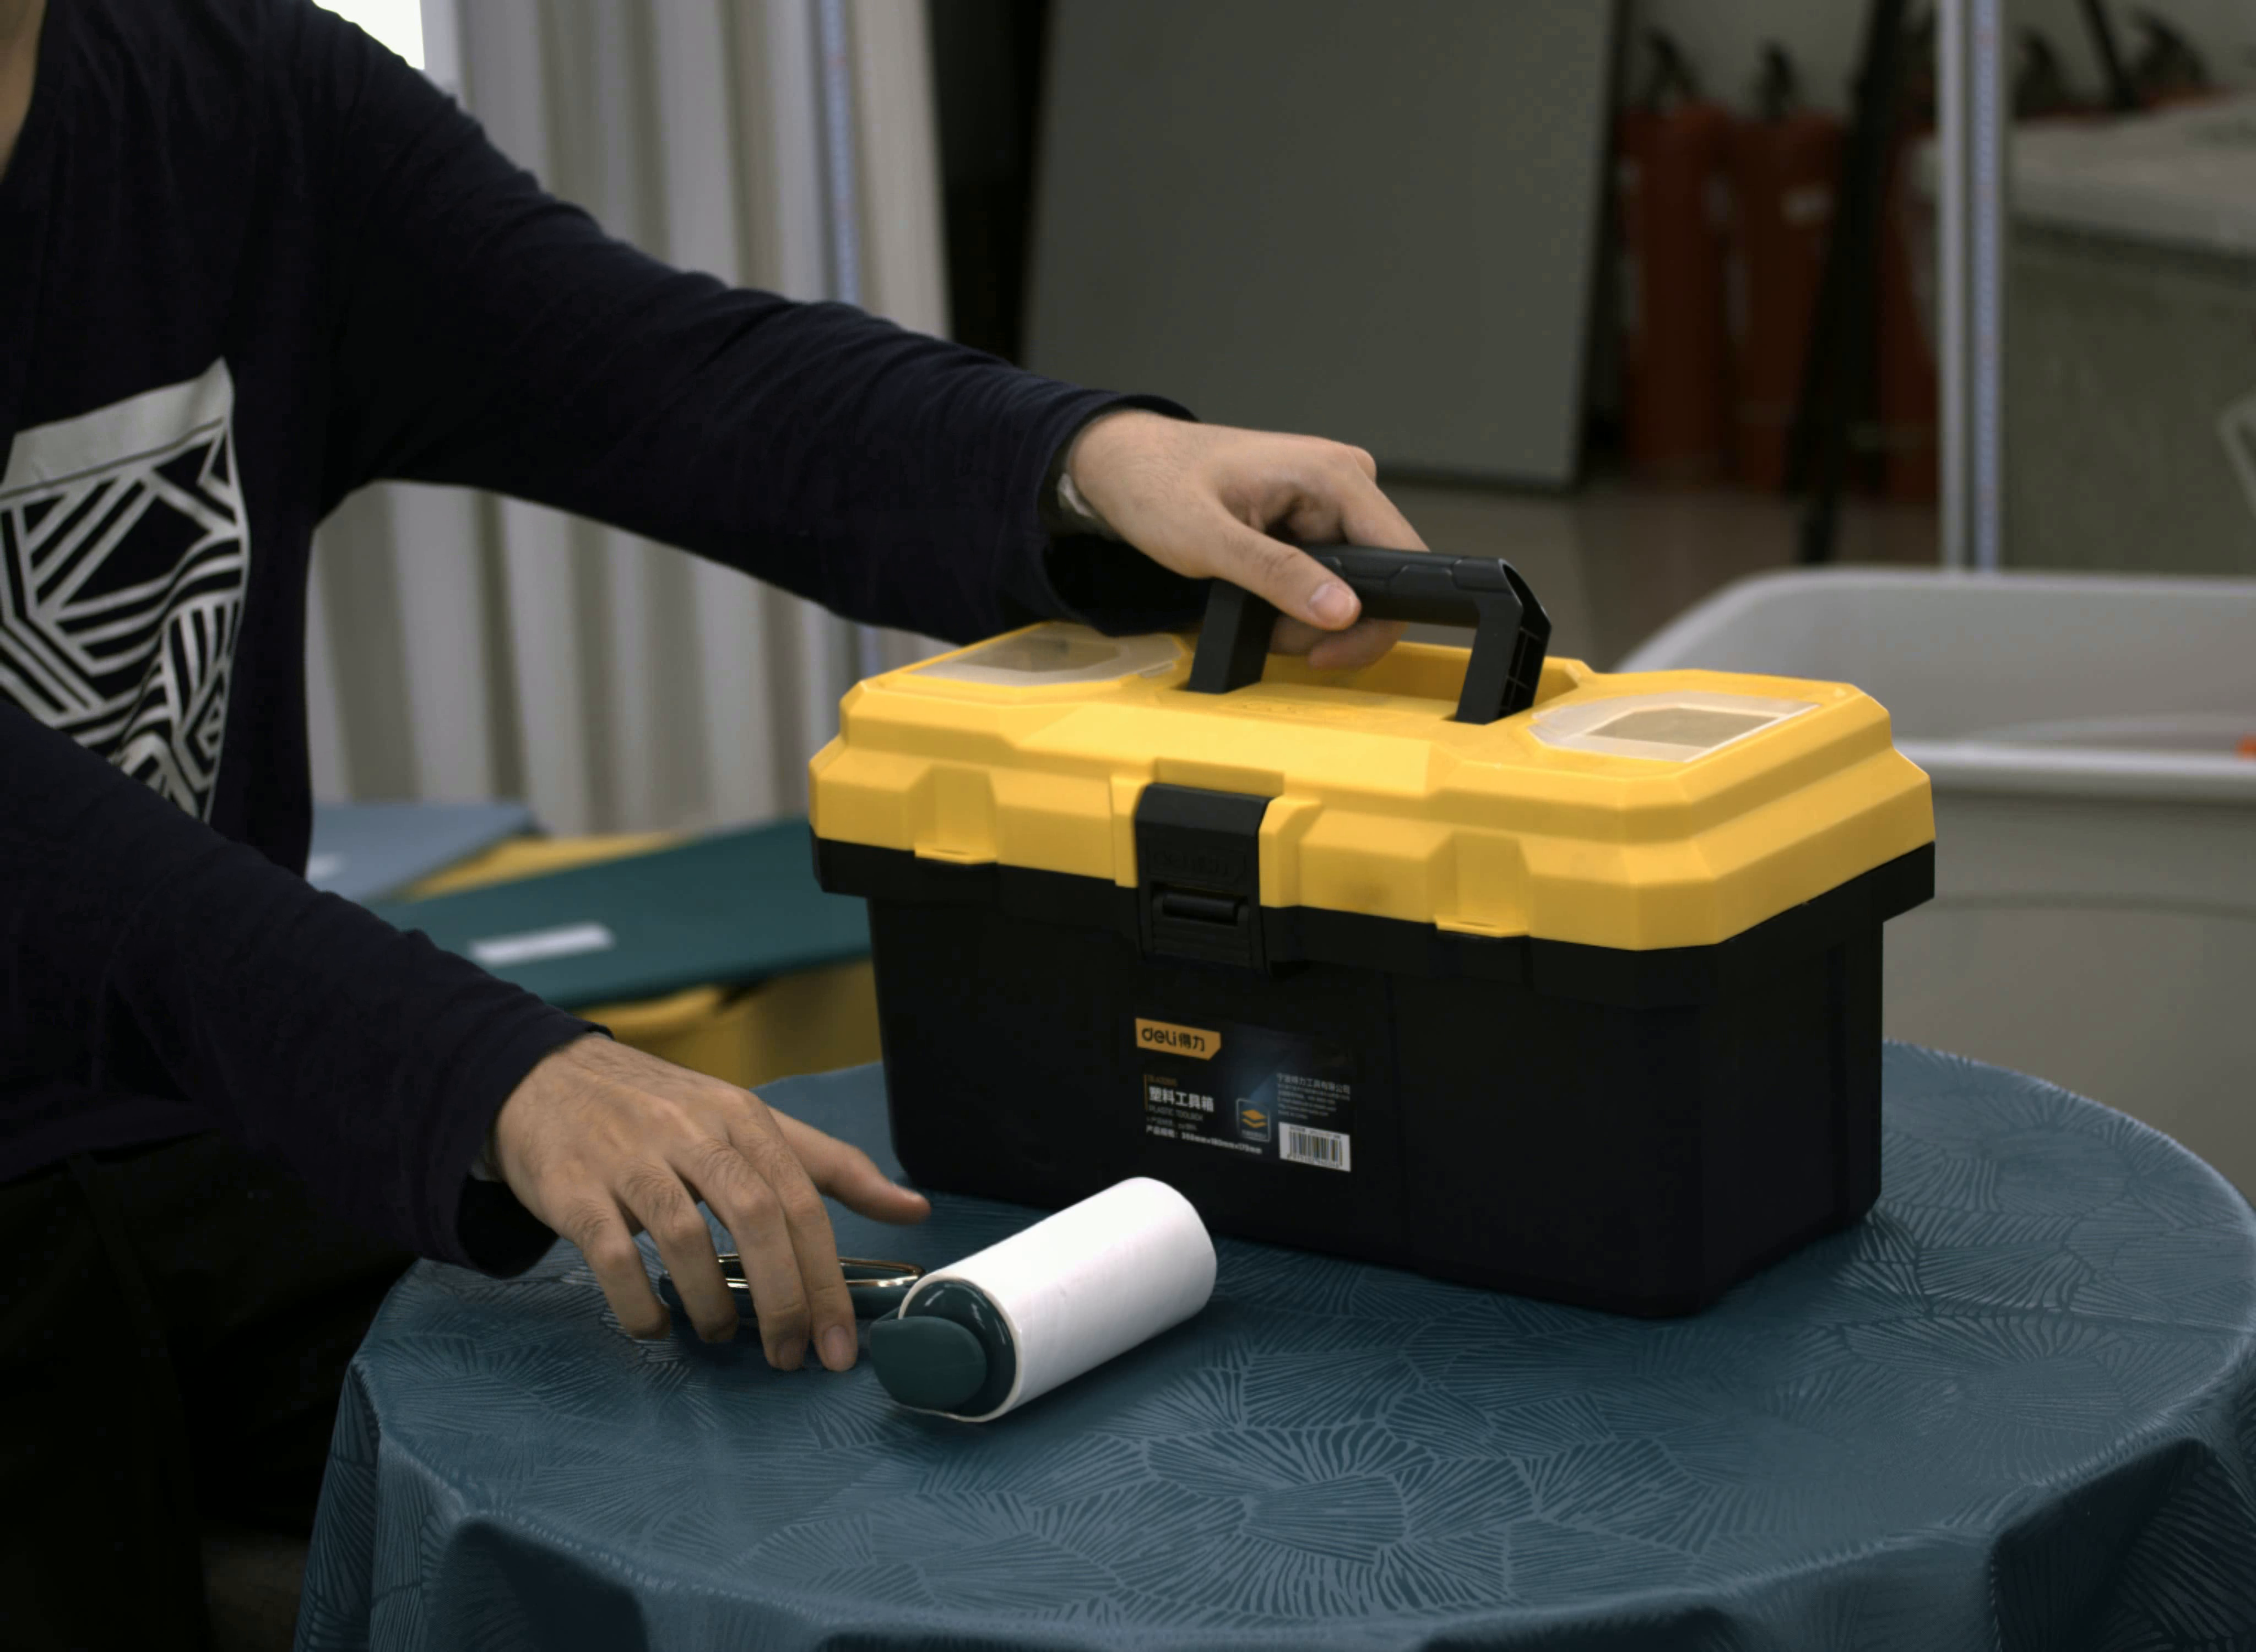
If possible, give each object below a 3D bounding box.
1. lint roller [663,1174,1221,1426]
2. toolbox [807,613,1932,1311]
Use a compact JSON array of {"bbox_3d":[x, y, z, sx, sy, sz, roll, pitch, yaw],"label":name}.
[{"bbox_3d":[-0.074,0.139,1.642,0.181,0.049,0.132,1,15,38],"label":"lint roller"},{"bbox_3d":[0.073,0.038,1.729,0.354,0.175,0.178,6,16,38],"label":"toolbox"}]
